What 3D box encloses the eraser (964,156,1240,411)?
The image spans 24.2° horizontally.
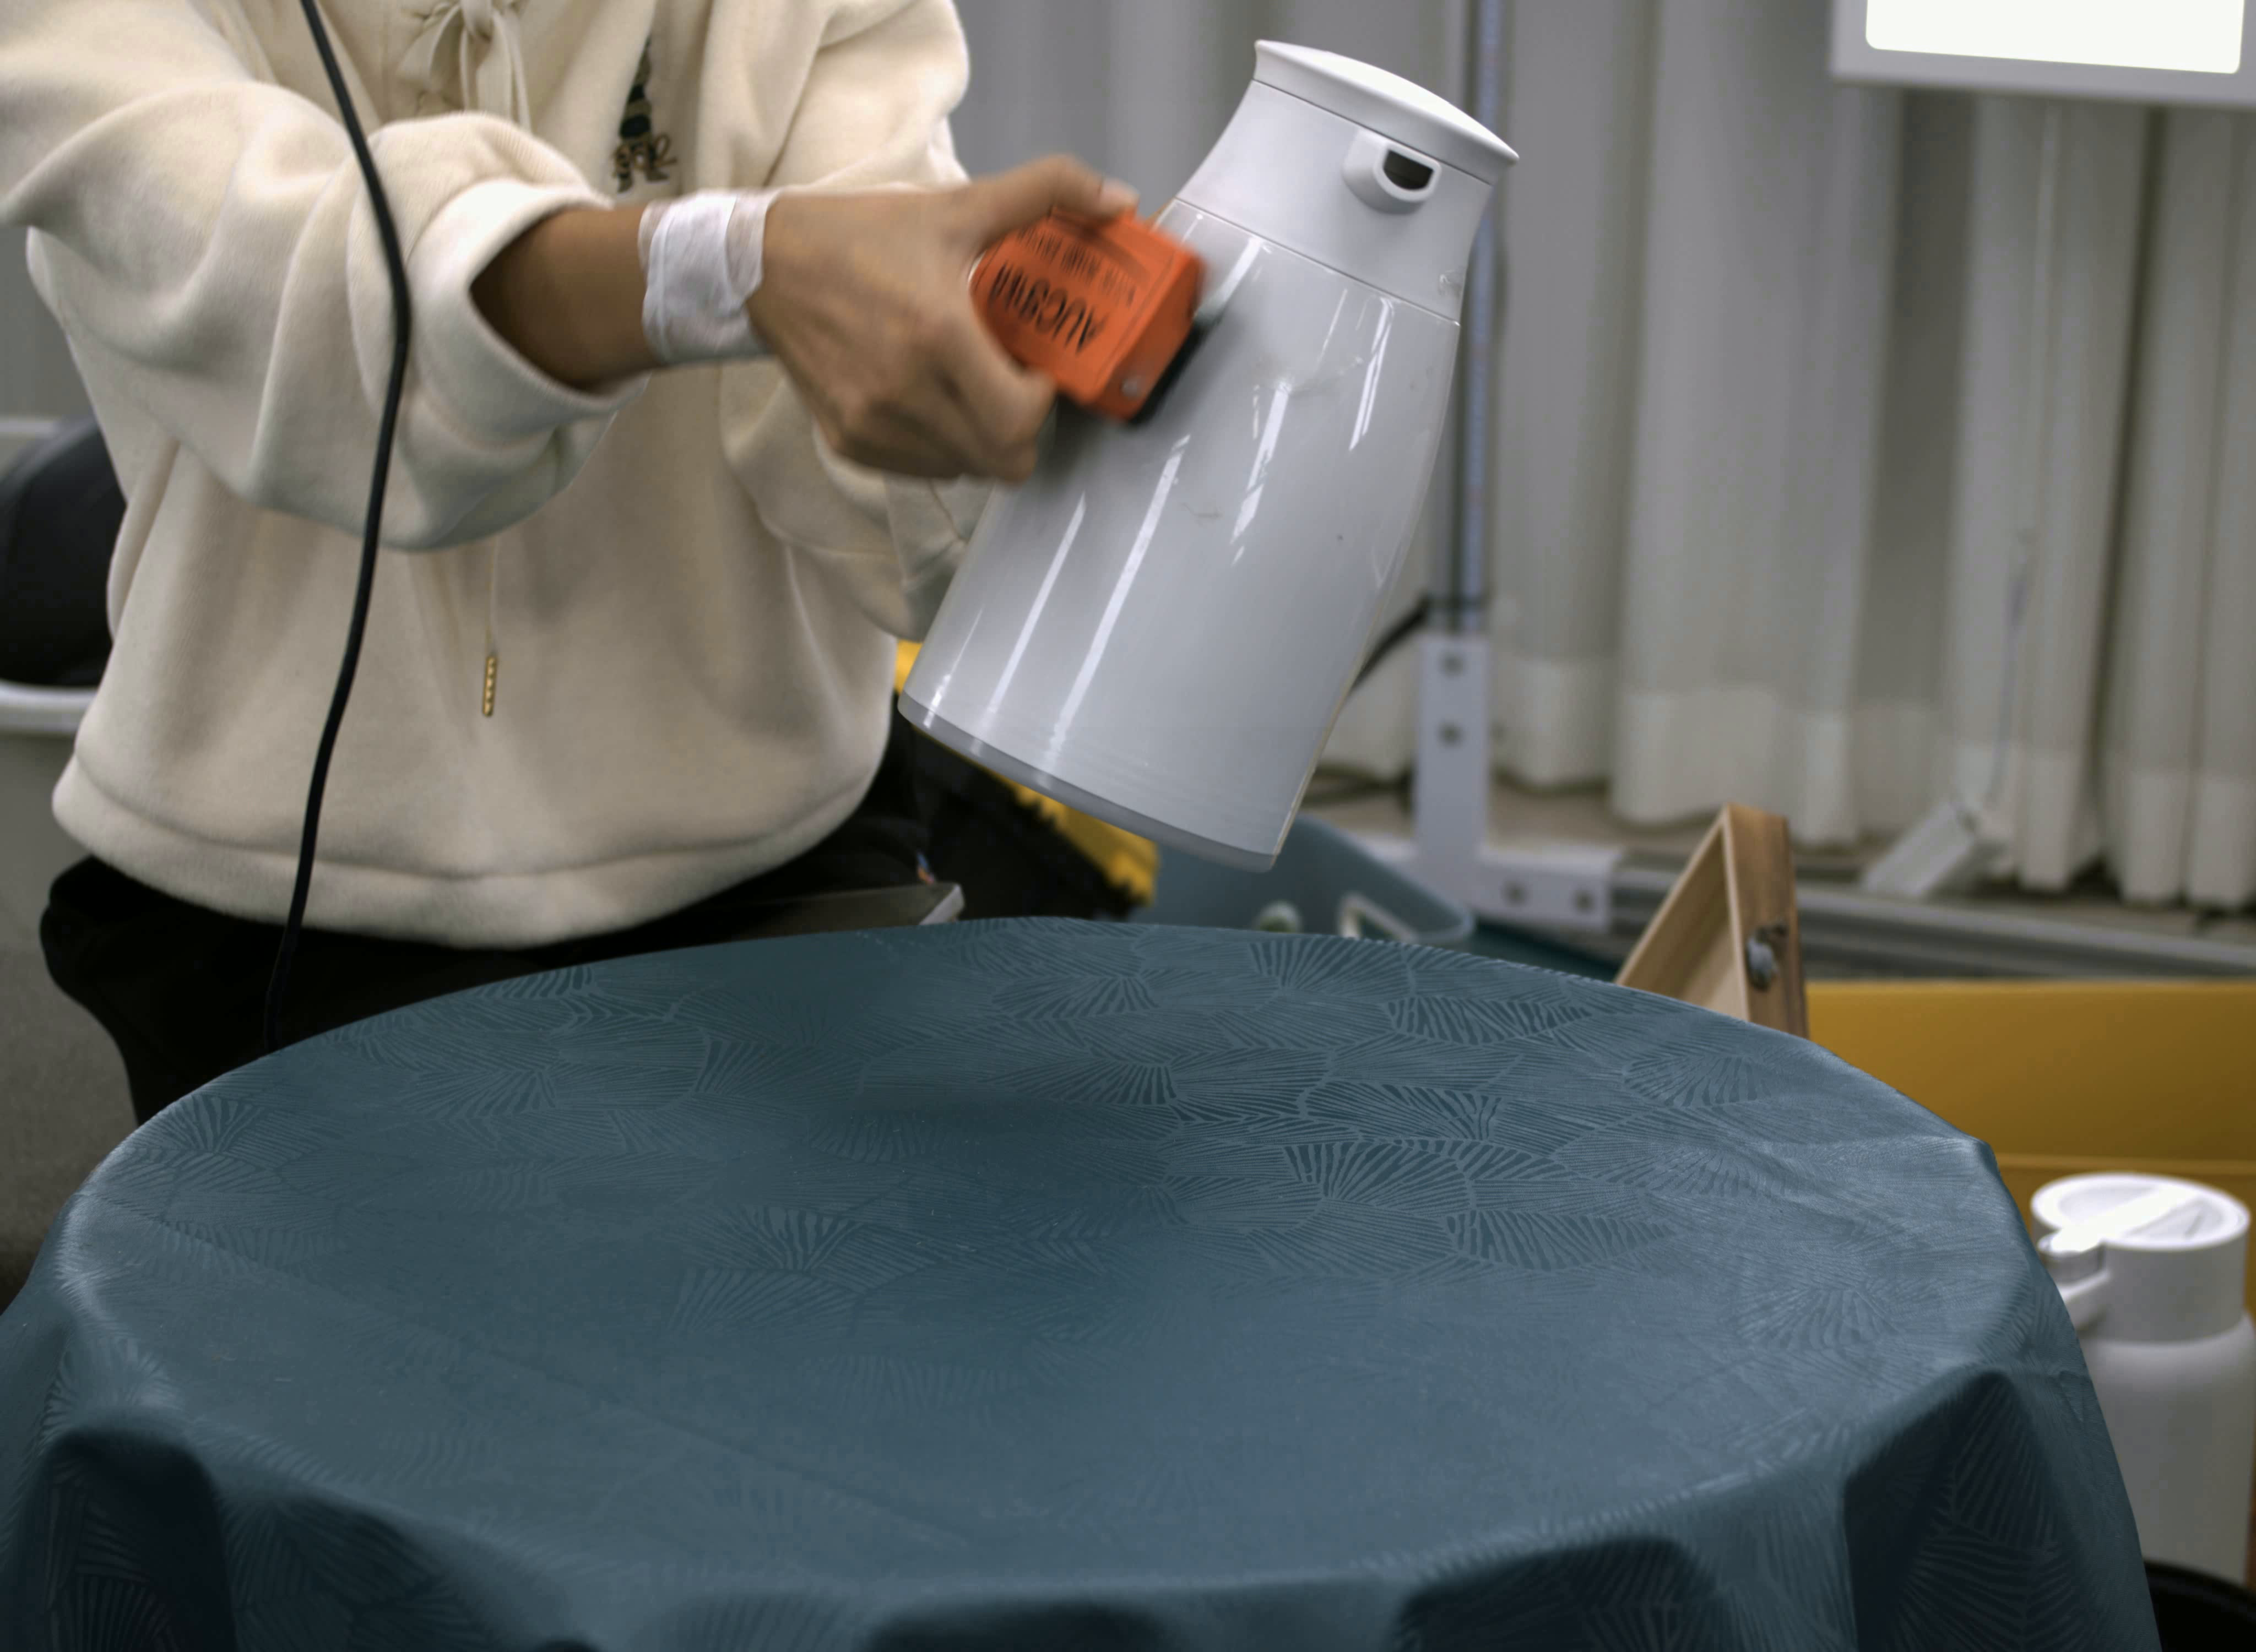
[{"bbox_3d":[-0.009,-0.169,1.632,0.023,0.059,0.106,32,2,-34],"label":"eraser"}]

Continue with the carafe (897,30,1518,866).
[{"bbox_3d":[0.030,-0.130,1.692,0.133,0.249,0.166,22,6,-16],"label":"carafe"}]
